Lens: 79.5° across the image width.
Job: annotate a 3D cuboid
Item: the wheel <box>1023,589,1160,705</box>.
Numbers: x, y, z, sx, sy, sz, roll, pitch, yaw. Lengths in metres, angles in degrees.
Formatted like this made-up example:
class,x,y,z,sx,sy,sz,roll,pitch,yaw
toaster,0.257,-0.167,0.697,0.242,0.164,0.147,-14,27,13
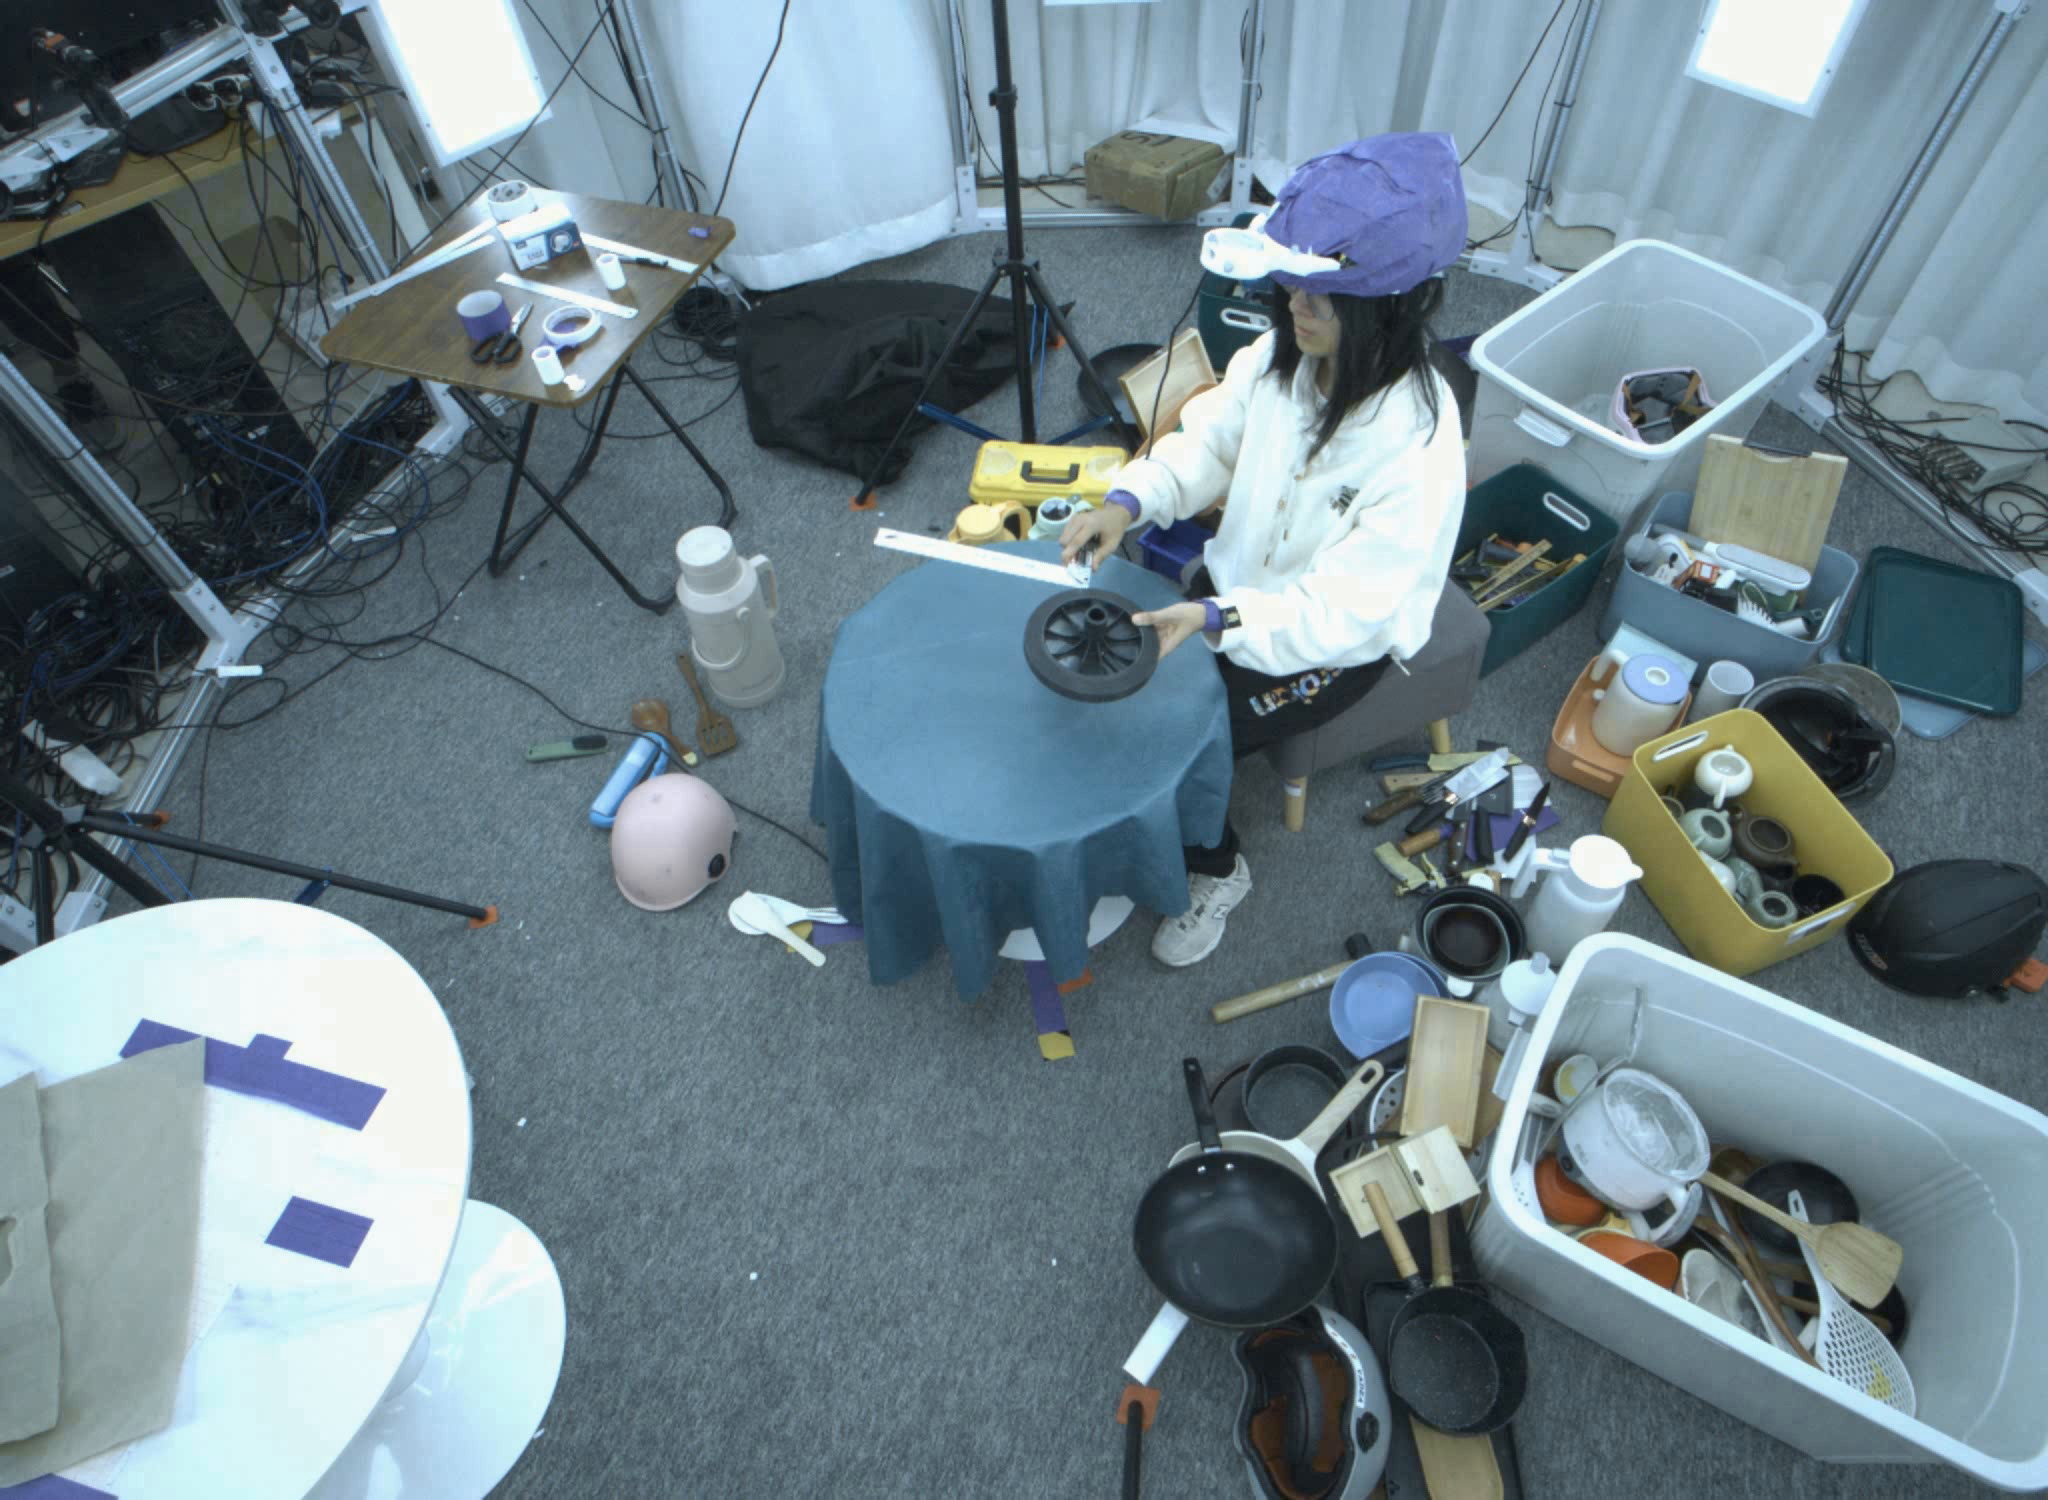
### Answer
class,x,y,z,sx,sy,sz,roll,pitch,yaw
wheel,0.094,-0.155,1.674,0.188,0.079,0.188,27,59,9

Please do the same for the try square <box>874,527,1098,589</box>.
class,x,y,z,sx,sy,sz,roll,pitch,yaw
try square,-0.050,-0.306,1.777,0.314,0.016,0.151,12,42,-4
